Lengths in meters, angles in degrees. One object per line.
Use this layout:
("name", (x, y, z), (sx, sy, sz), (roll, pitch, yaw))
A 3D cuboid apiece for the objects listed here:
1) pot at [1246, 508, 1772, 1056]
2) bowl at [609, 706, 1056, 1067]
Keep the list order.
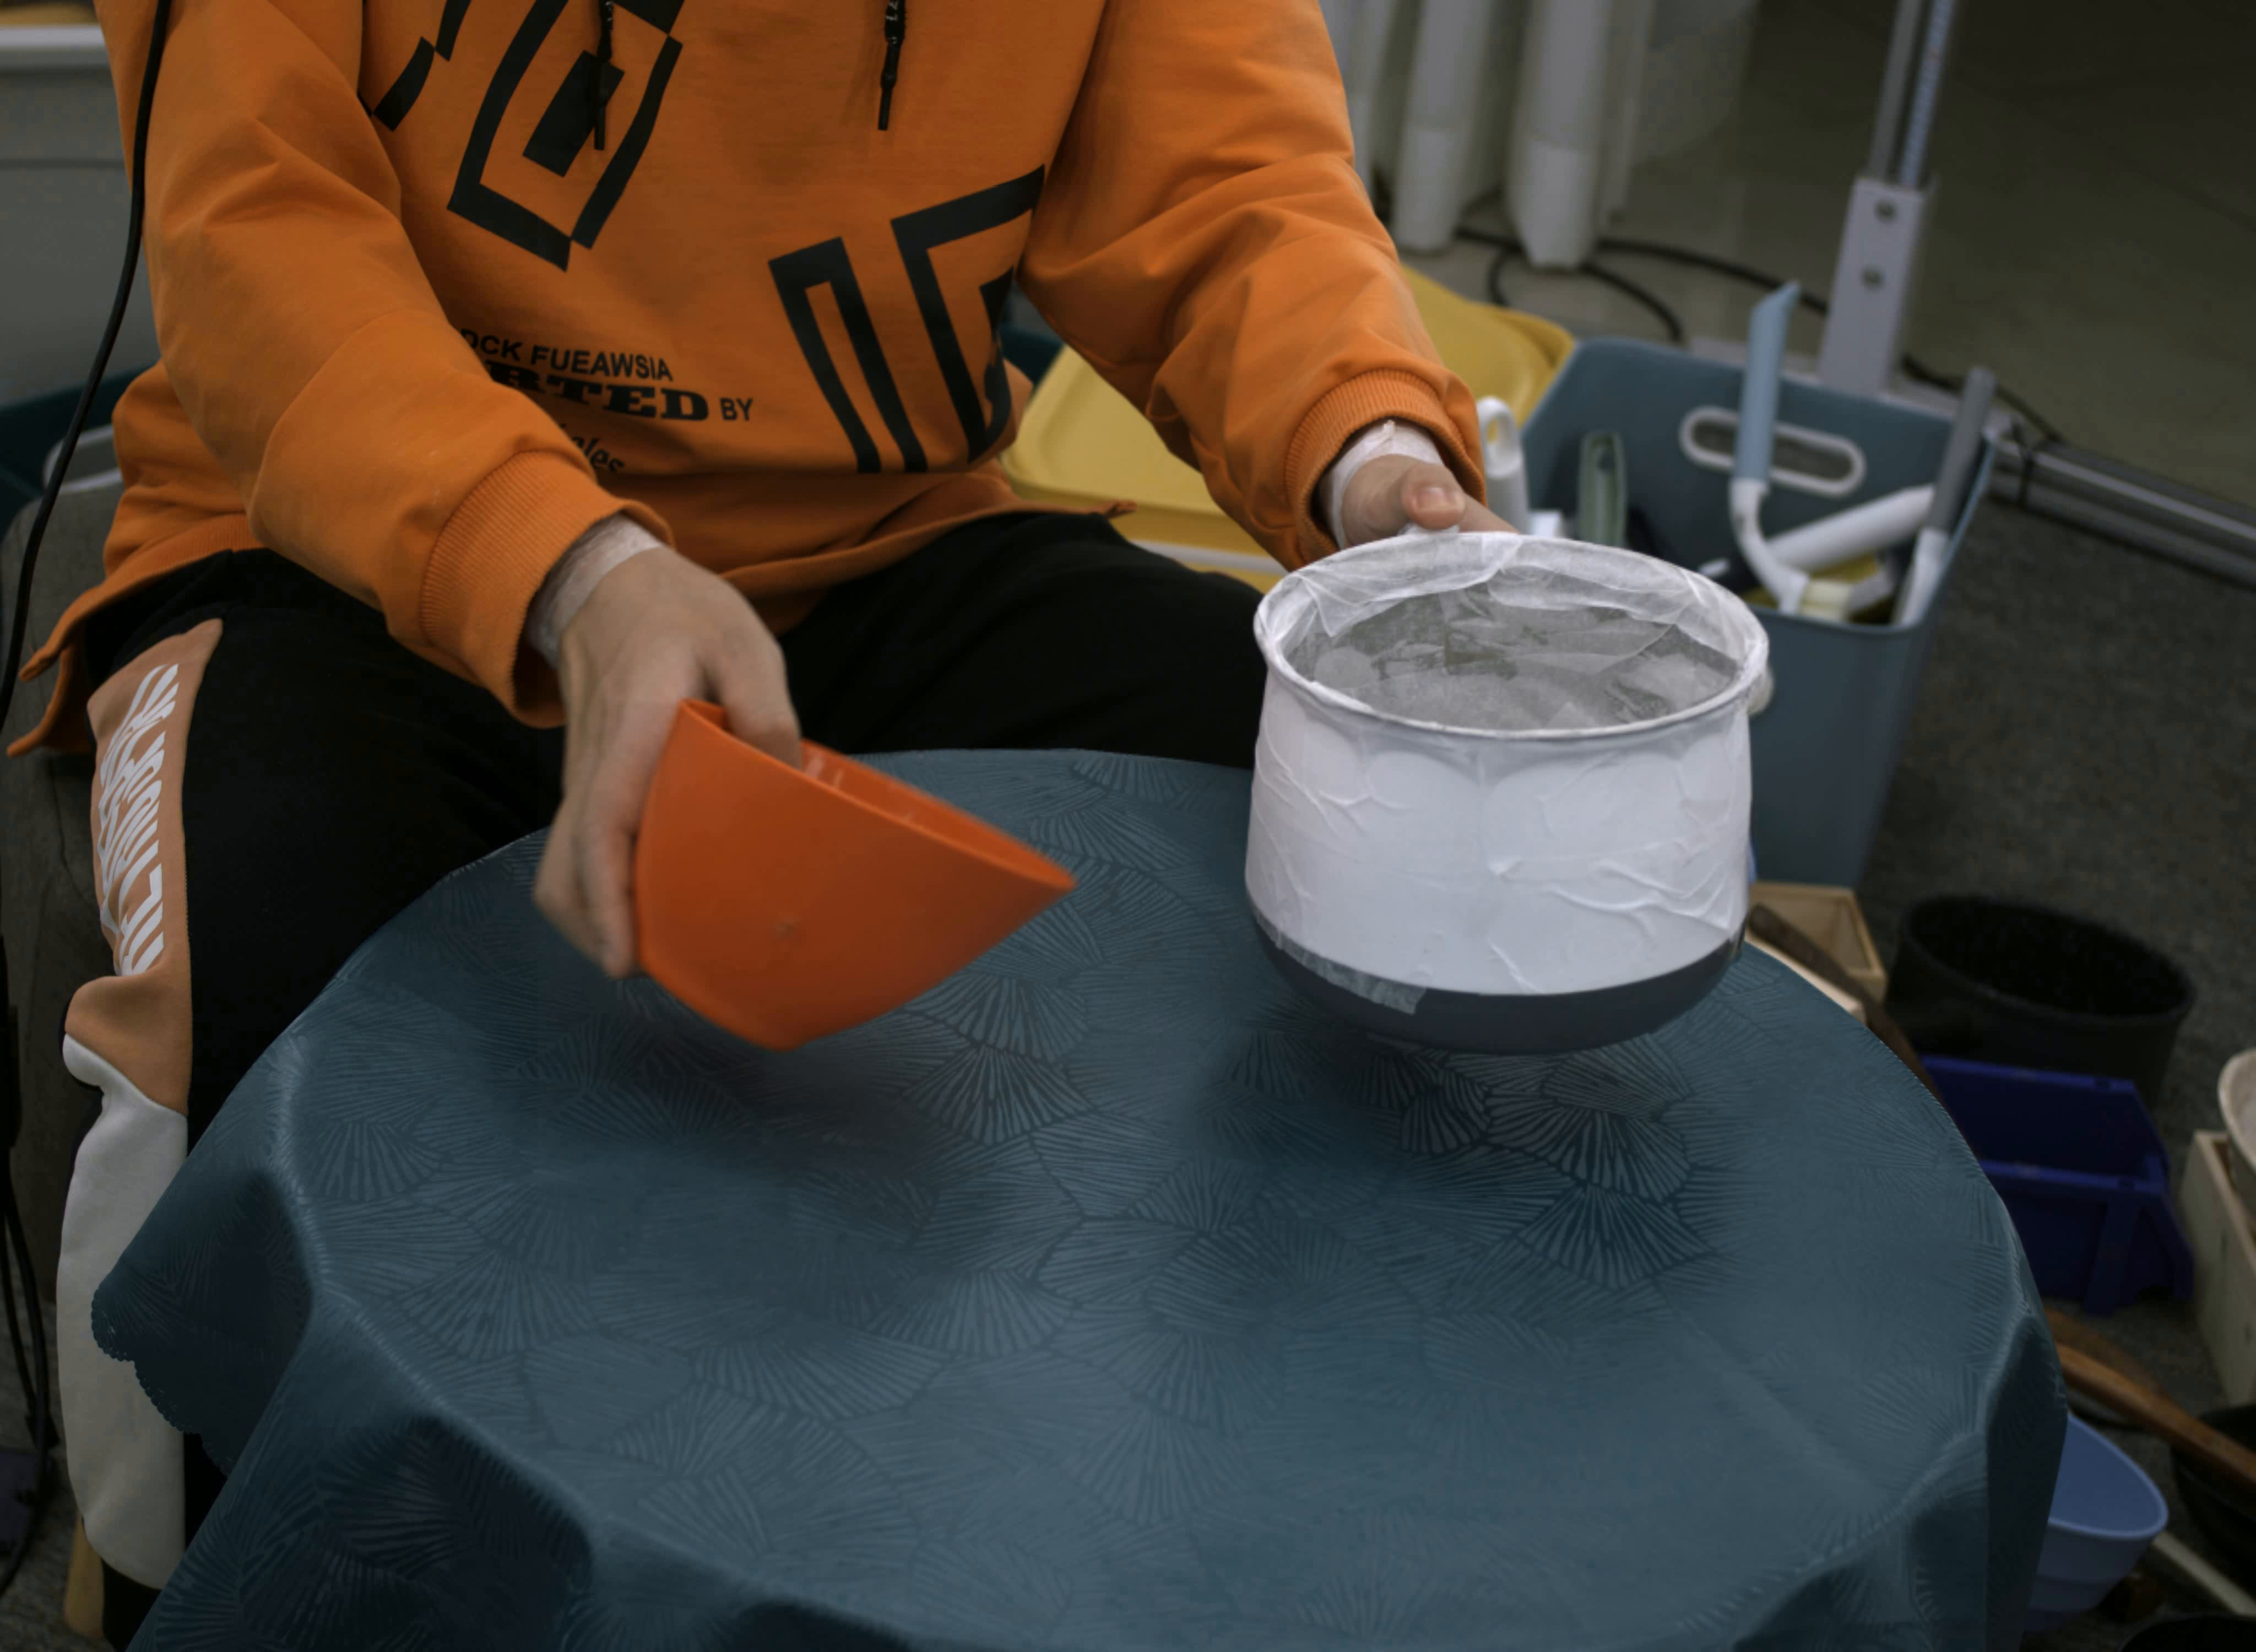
("pot", (0.123, -0.022, 1.875), (0.178, 0.136, 0.235), (-4, 25, -13))
("bowl", (-0.113, 0.027, 1.796), (0.147, 0.104, 0.148), (33, 6, -4))
